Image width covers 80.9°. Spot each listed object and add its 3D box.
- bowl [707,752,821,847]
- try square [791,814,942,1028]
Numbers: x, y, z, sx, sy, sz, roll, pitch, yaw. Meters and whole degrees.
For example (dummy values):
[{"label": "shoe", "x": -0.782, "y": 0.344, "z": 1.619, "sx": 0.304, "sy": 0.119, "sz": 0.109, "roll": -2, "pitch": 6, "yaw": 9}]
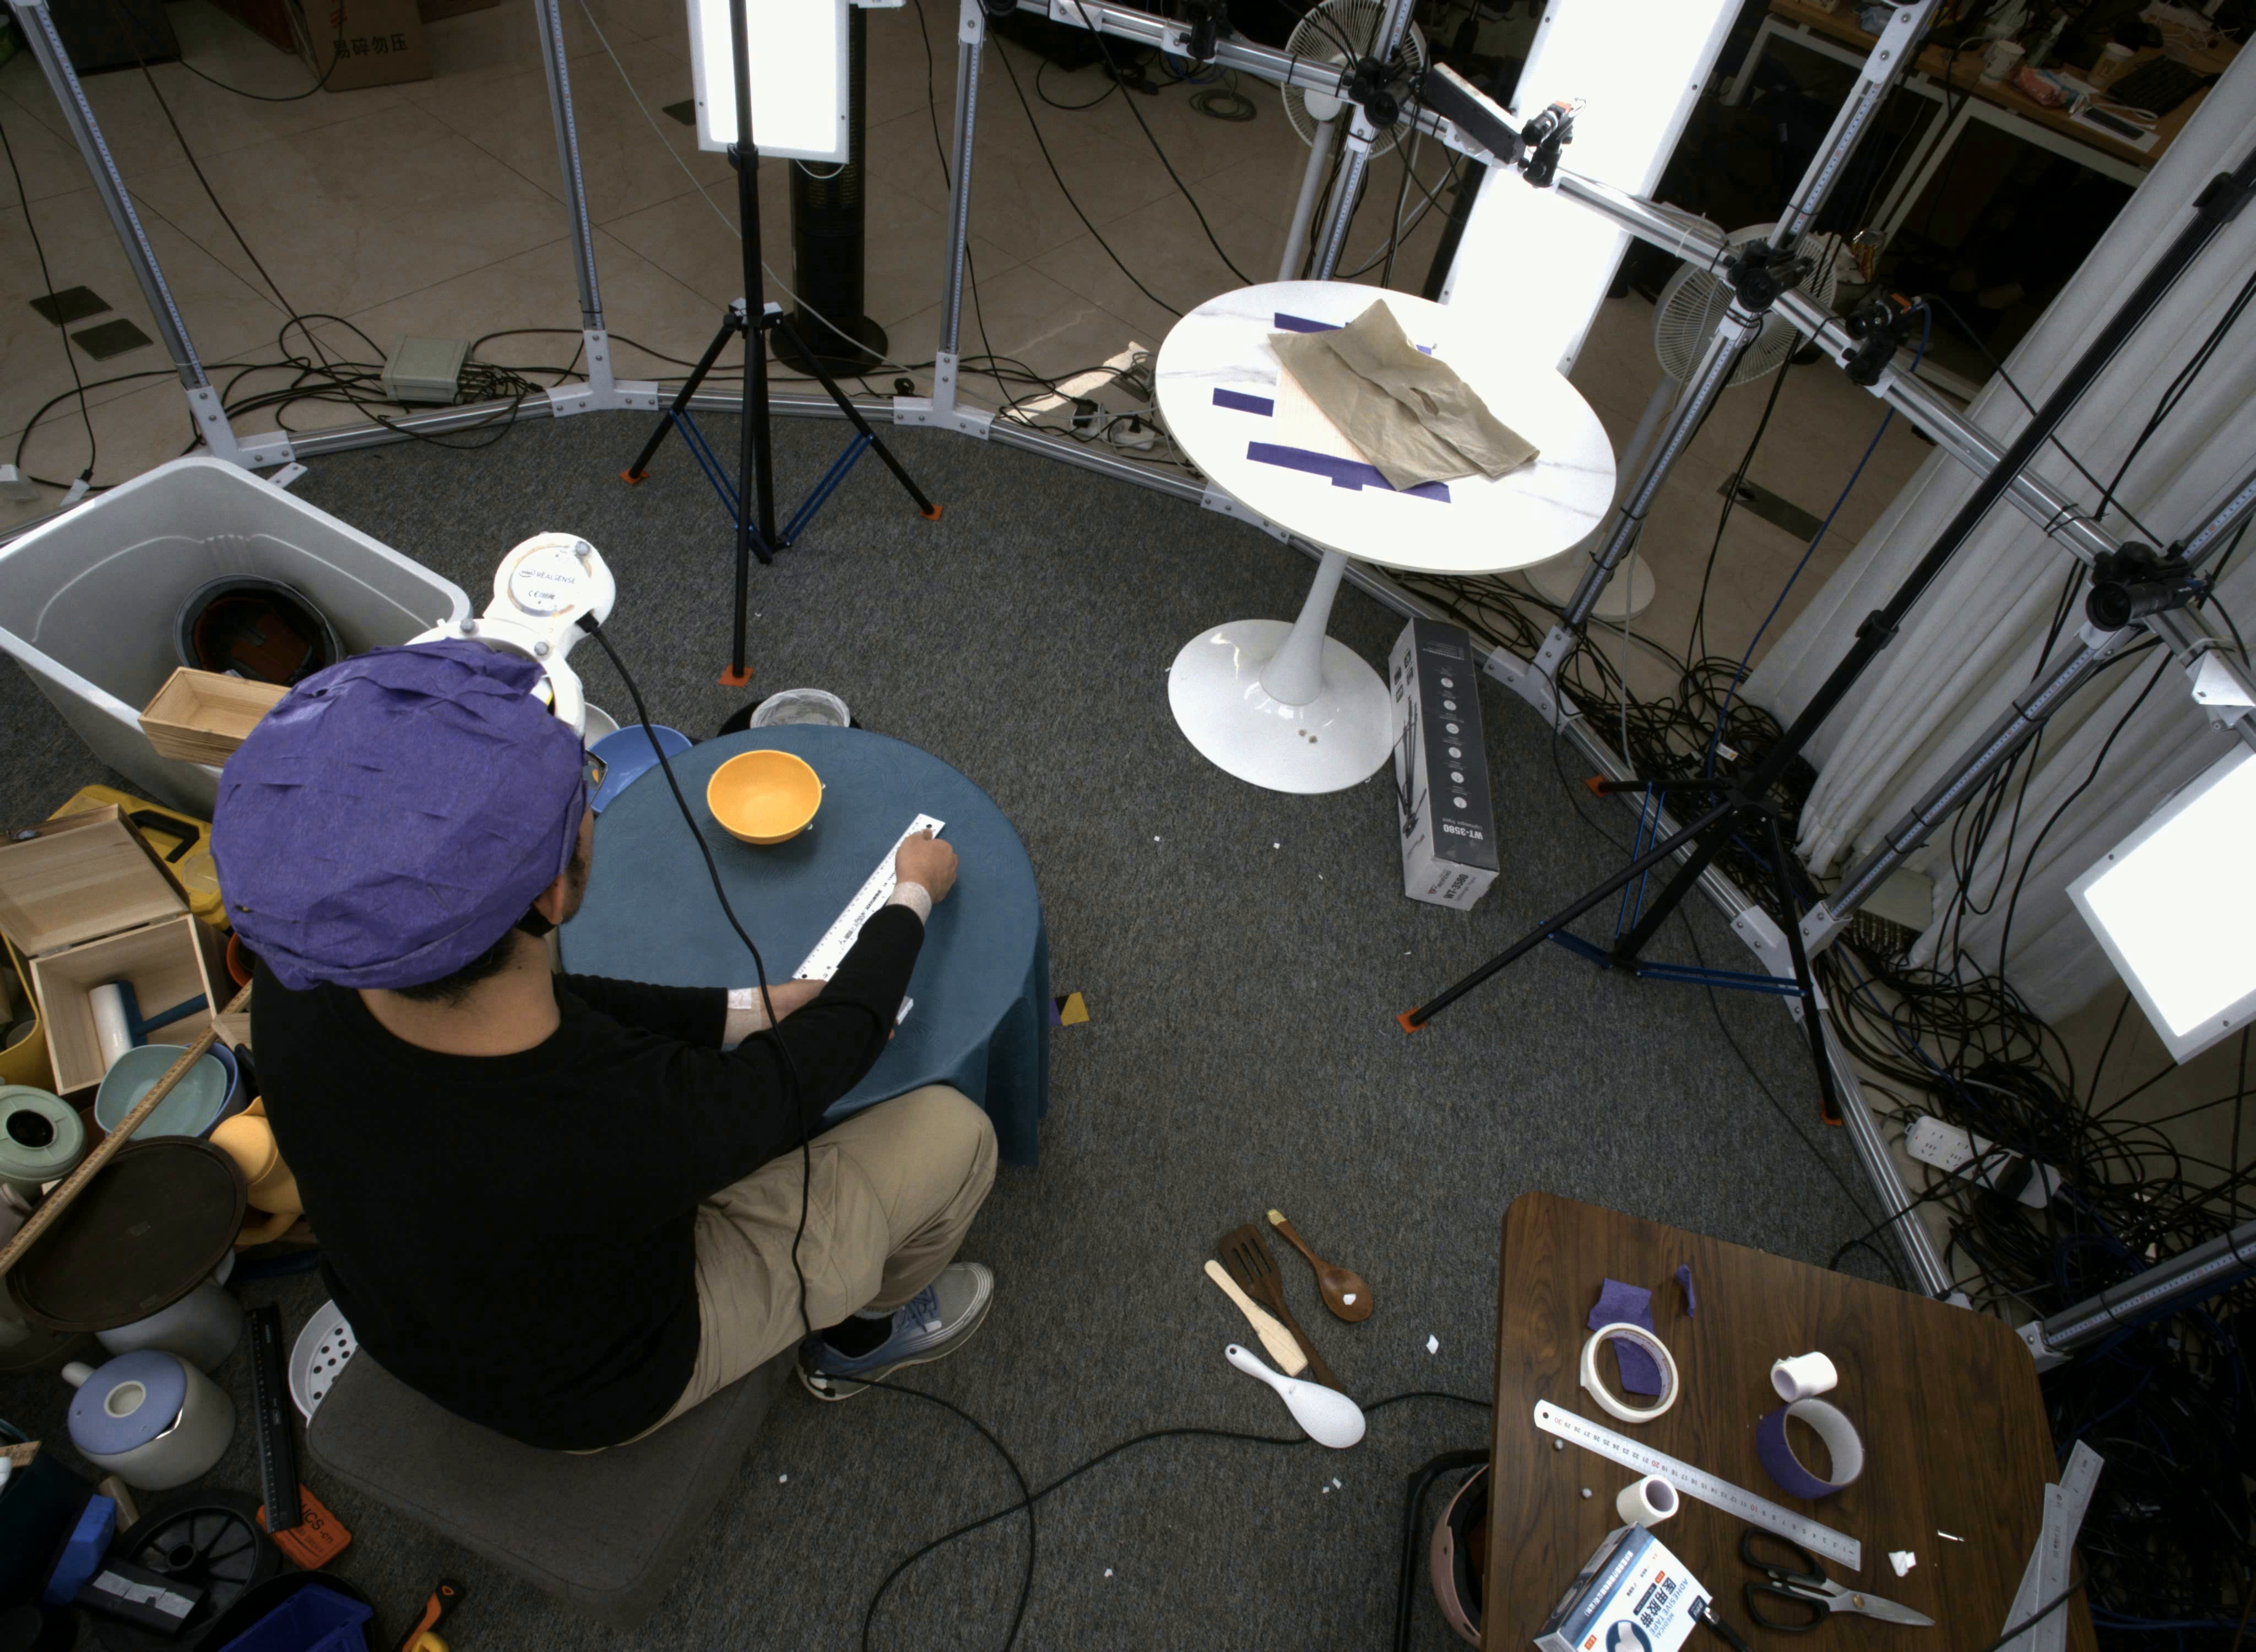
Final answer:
[{"label": "bowl", "x": -0.472, "y": -0.024, "z": 1.689, "sx": 0.144, "sy": 0.061, "sz": 0.143, "roll": 6, "pitch": 53, "yaw": -6}, {"label": "try square", "x": -0.281, "y": 0.109, "z": 1.656, "sx": 0.149, "sy": 0.016, "sz": 0.311, "roll": 22, "pitch": 49, "yaw": 10}]
